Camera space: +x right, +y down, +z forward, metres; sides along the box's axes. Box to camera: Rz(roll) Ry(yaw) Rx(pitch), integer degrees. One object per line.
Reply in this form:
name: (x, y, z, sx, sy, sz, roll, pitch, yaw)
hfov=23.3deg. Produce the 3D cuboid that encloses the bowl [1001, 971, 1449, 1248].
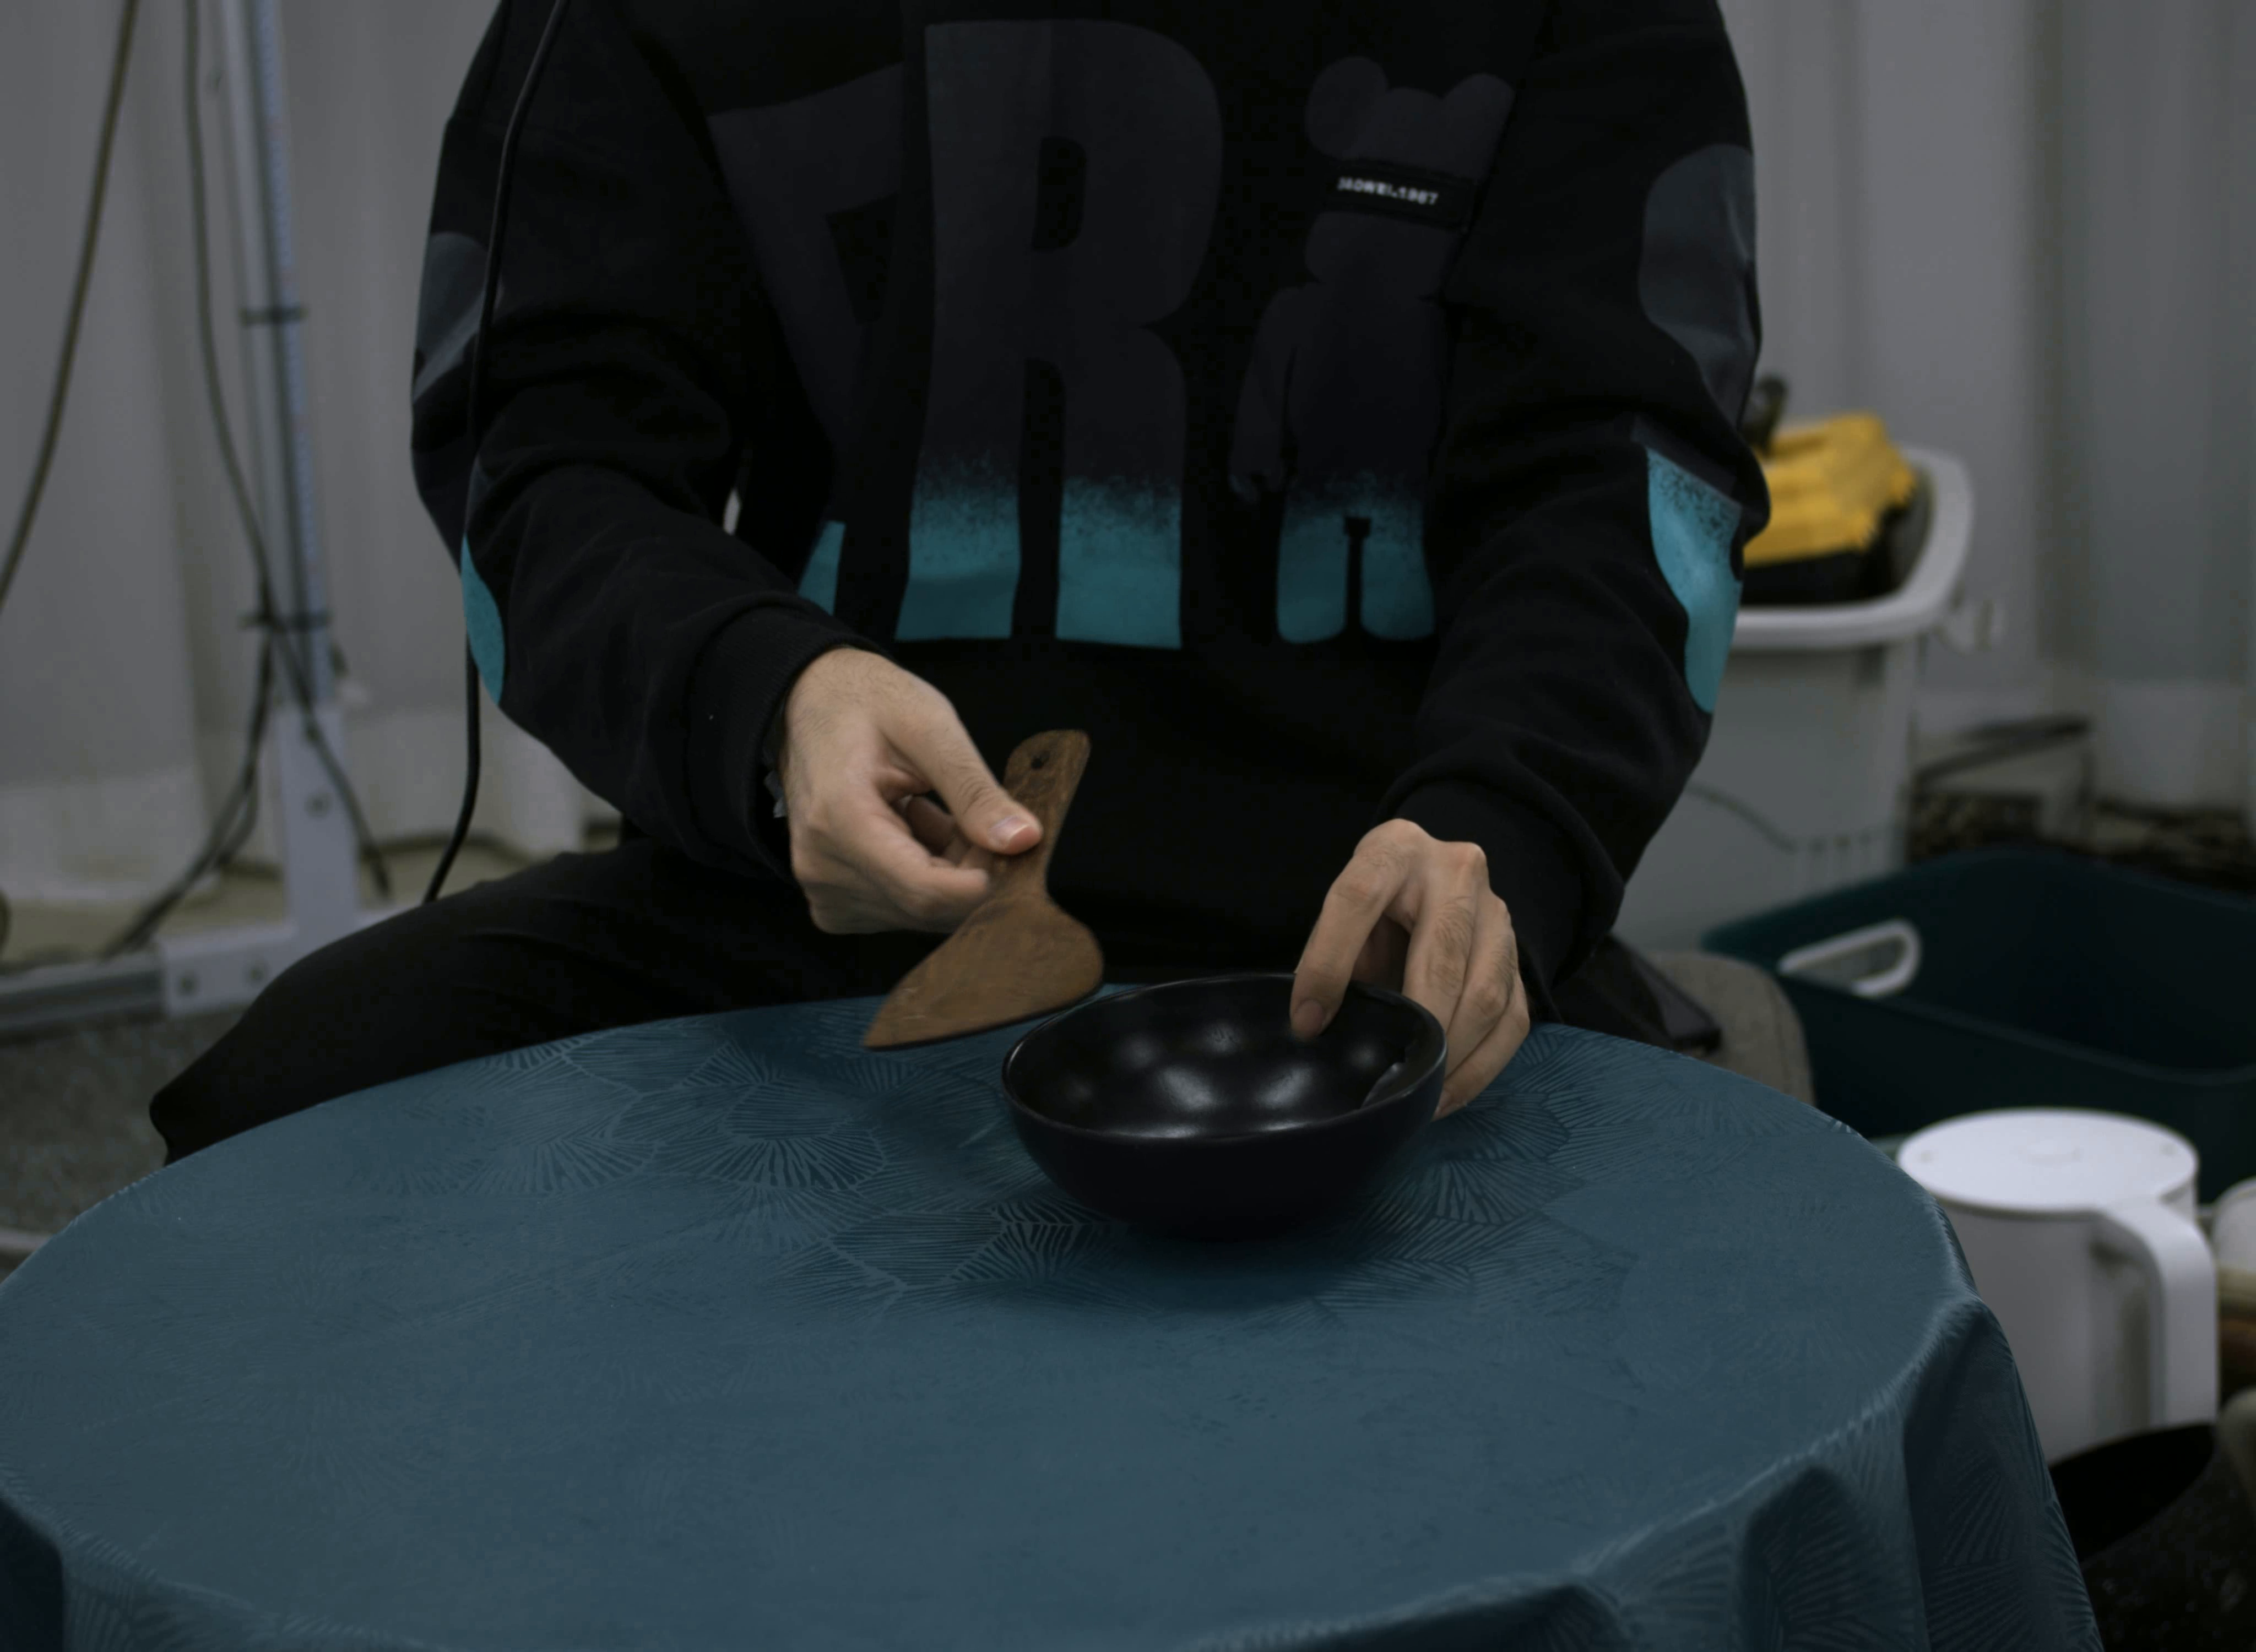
bowl: (0.033, 0.093, 1.682, 0.139, 0.049, 0.141, -7, 19, 2)

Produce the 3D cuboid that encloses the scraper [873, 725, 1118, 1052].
scraper: (-0.033, 0.018, 1.734, 0.075, 0.011, 0.213, -13, 25, 12)
